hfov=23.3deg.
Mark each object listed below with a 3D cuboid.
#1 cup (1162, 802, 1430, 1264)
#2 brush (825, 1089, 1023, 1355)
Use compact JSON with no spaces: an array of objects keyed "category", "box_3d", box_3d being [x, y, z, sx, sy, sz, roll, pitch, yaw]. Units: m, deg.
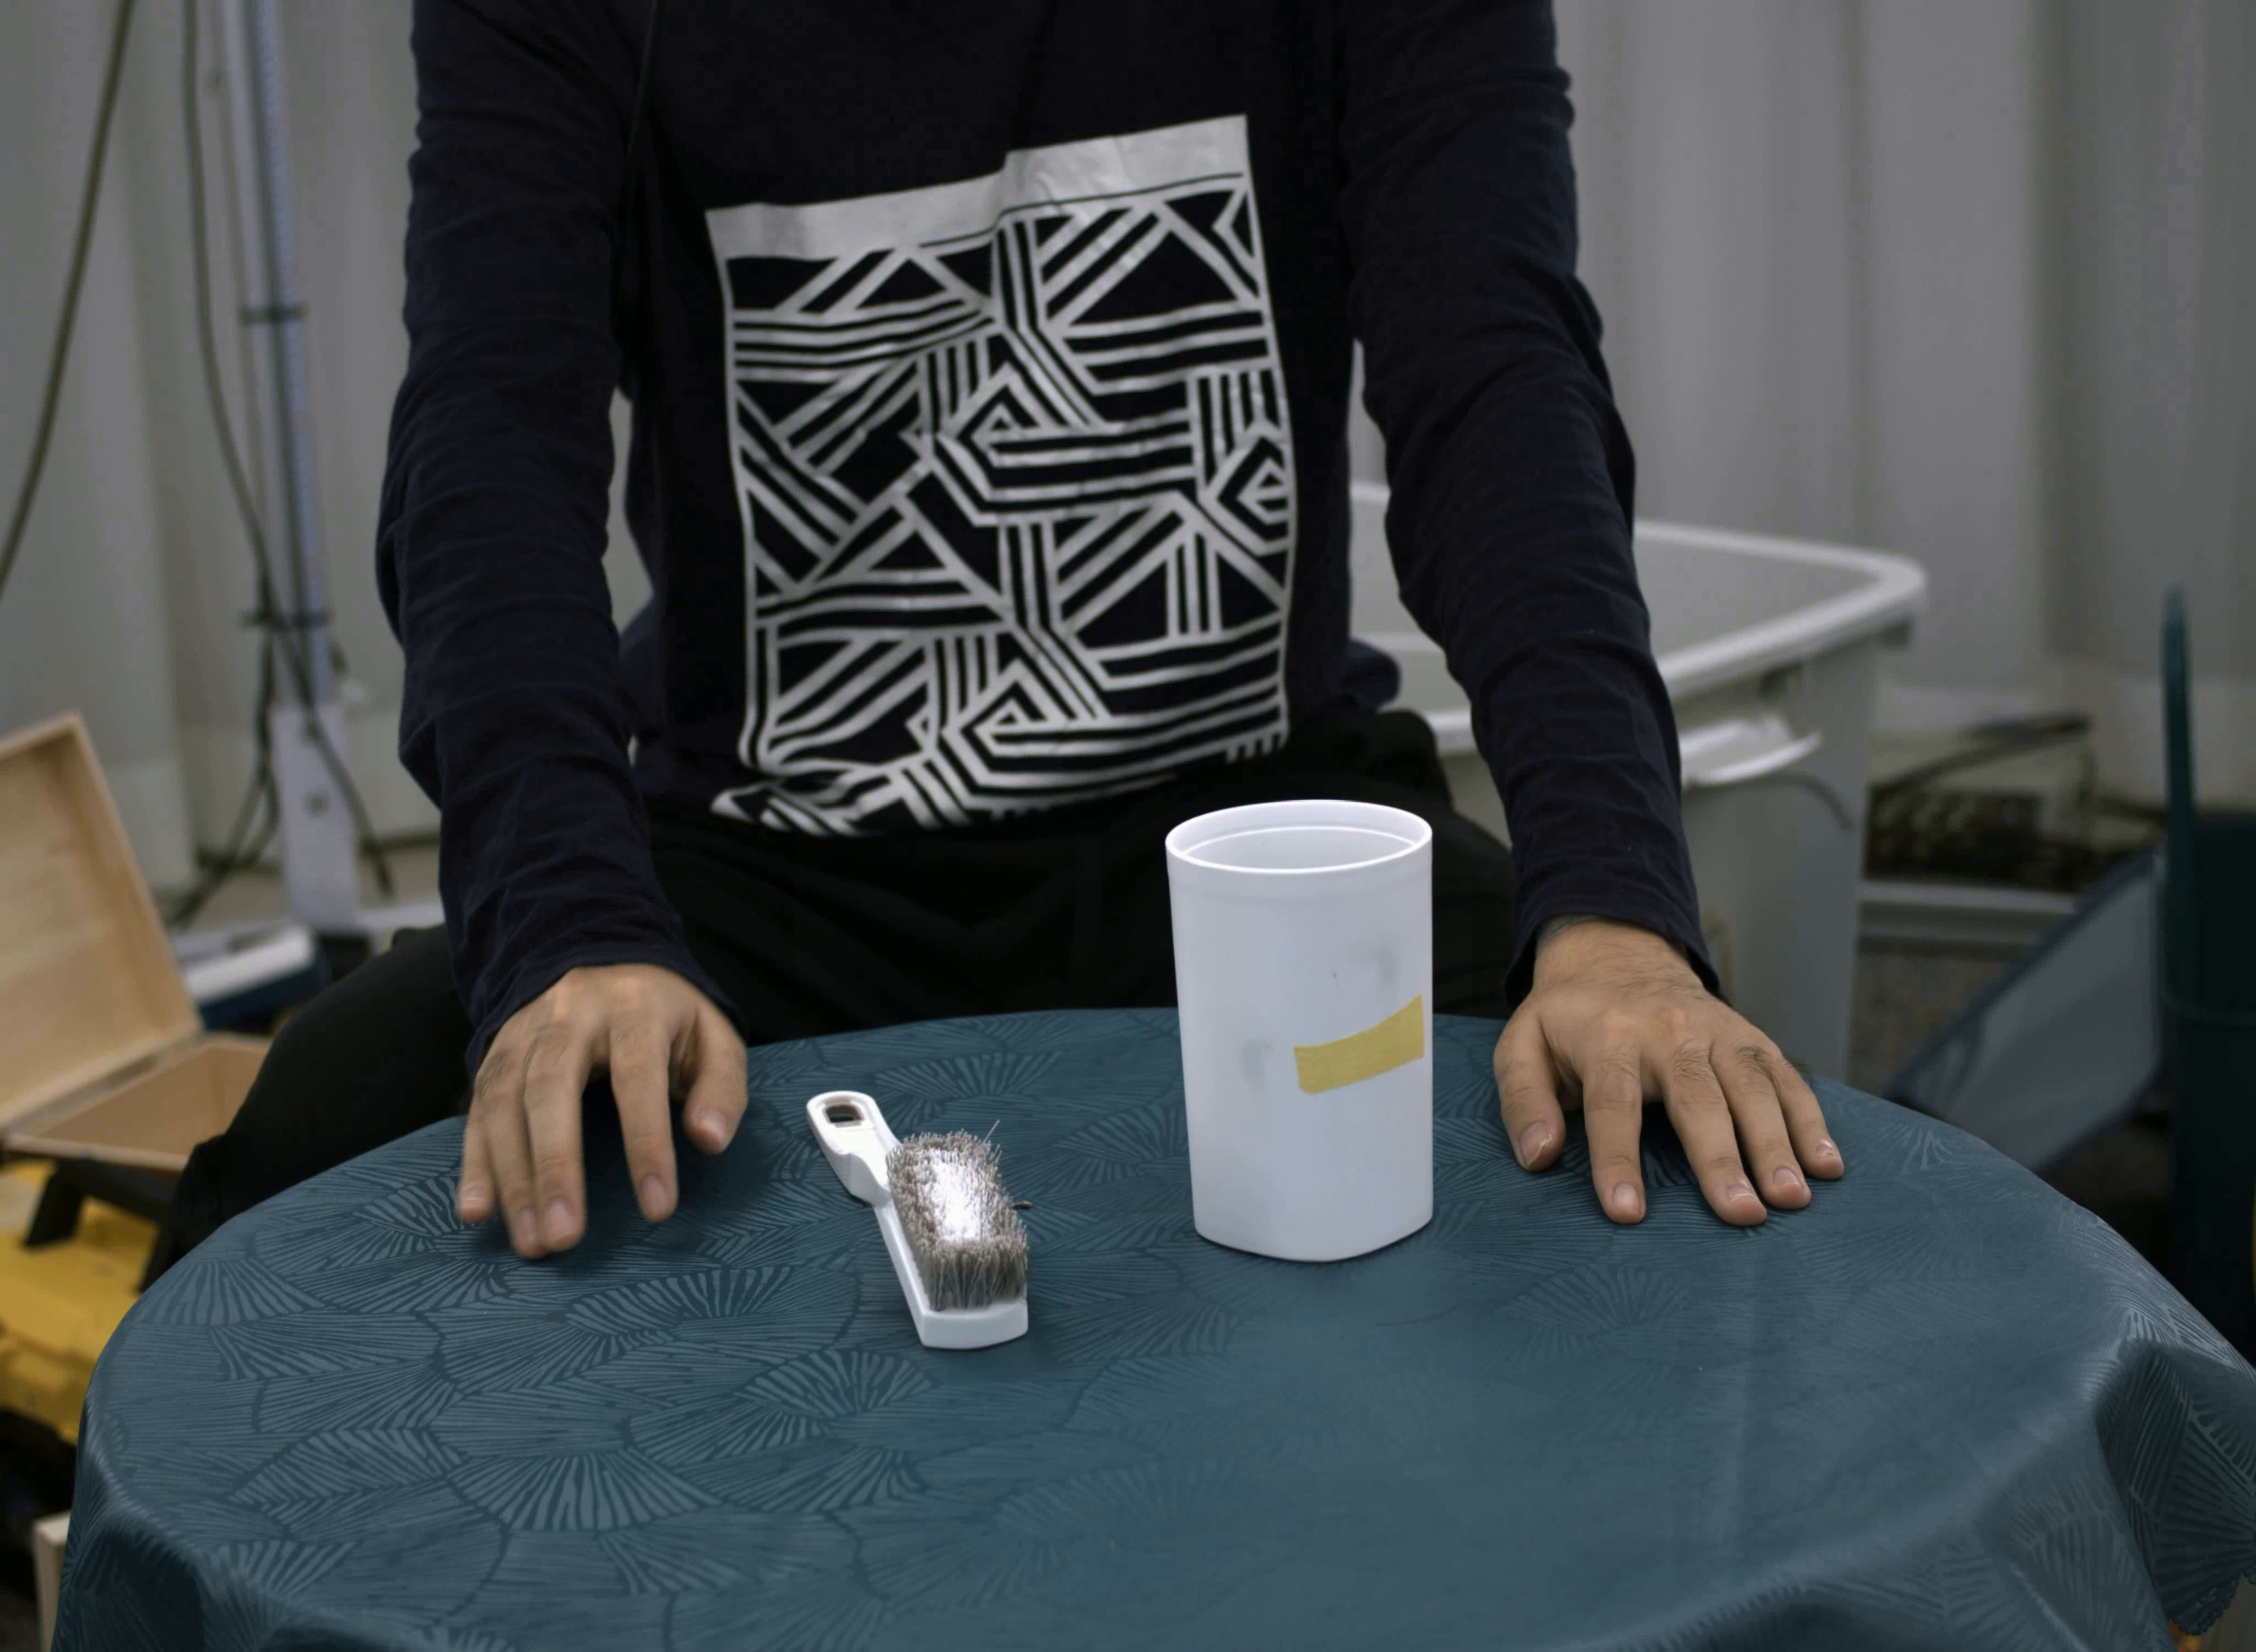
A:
[{"category":"cup","box_3d":[0.053,0.063,1.662,0.081,0.125,0.082,-2,13,0]},{"category":"brush","box_3d":[-0.068,0.102,1.684,0.034,0.050,0.245,-8,16,-9]}]
